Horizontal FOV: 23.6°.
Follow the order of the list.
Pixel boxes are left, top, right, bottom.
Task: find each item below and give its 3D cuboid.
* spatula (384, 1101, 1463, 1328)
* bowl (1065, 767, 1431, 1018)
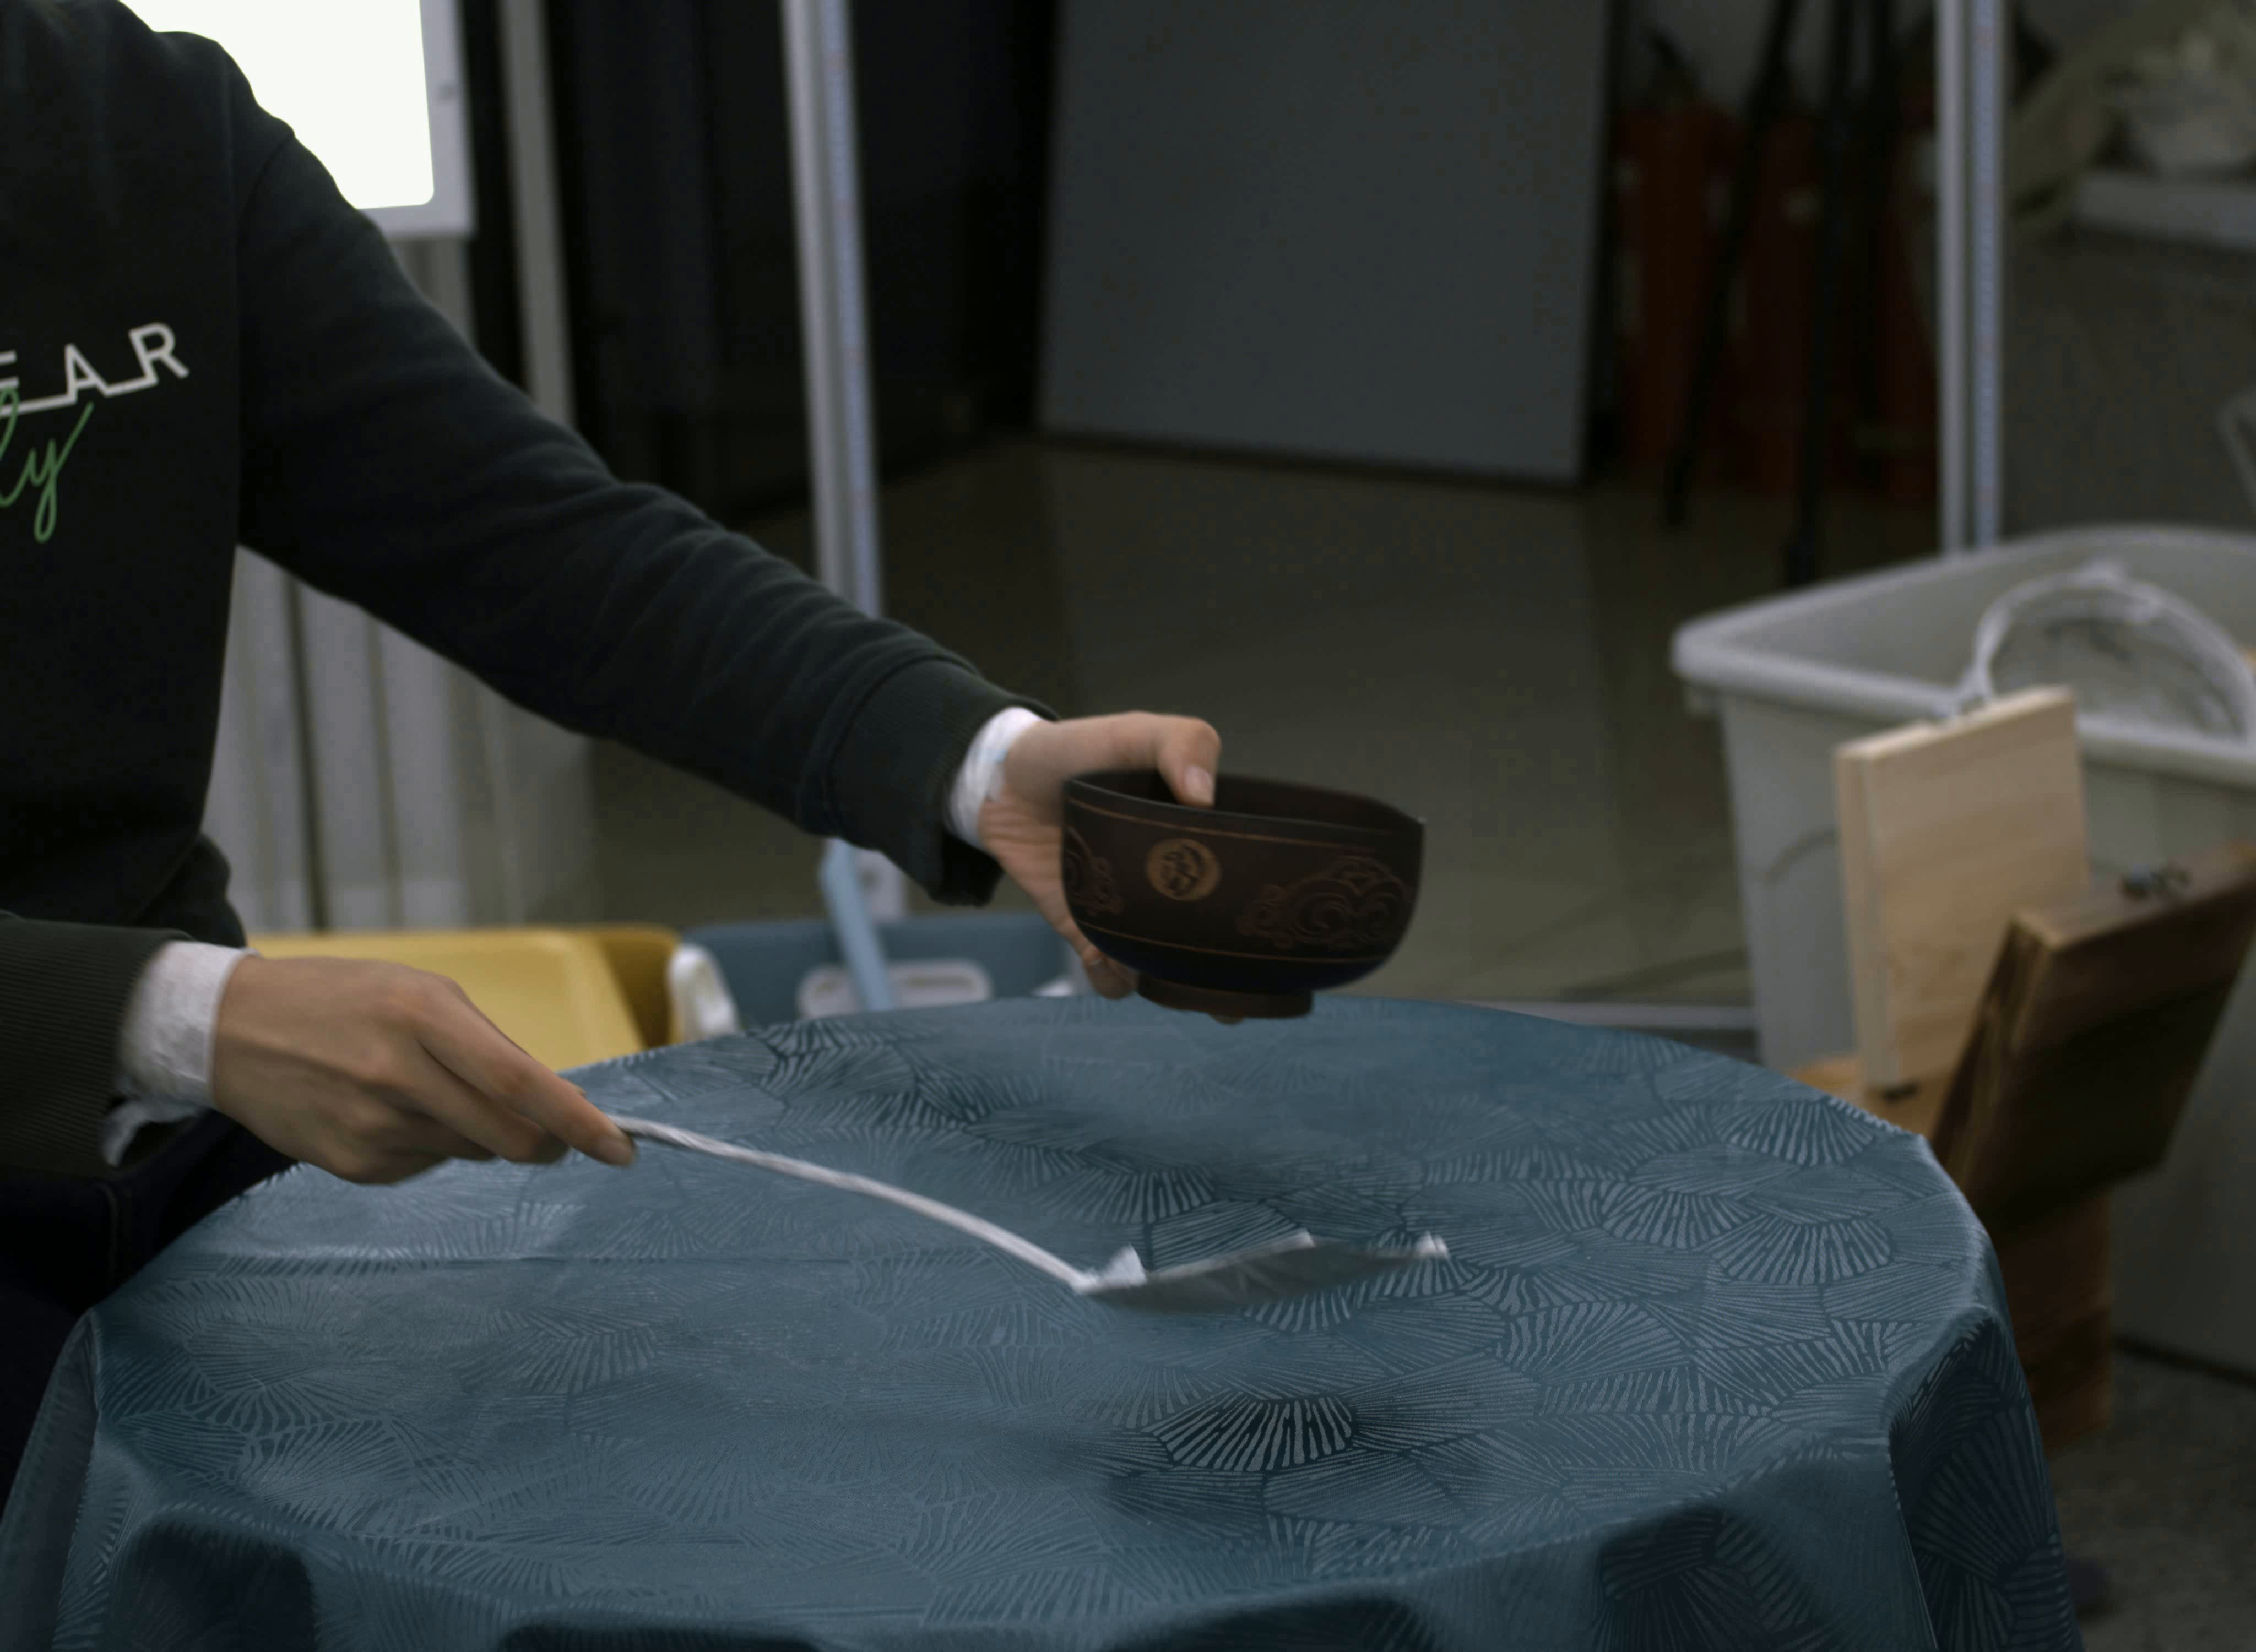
[{"bbox_3d":[-0.075,0.105,1.594,0.366,0.045,0.097,13,2,28],"label":"spatula"},{"bbox_3d":[0.036,0.023,1.725,0.116,0.071,0.118,7,4,-1],"label":"bowl"}]
